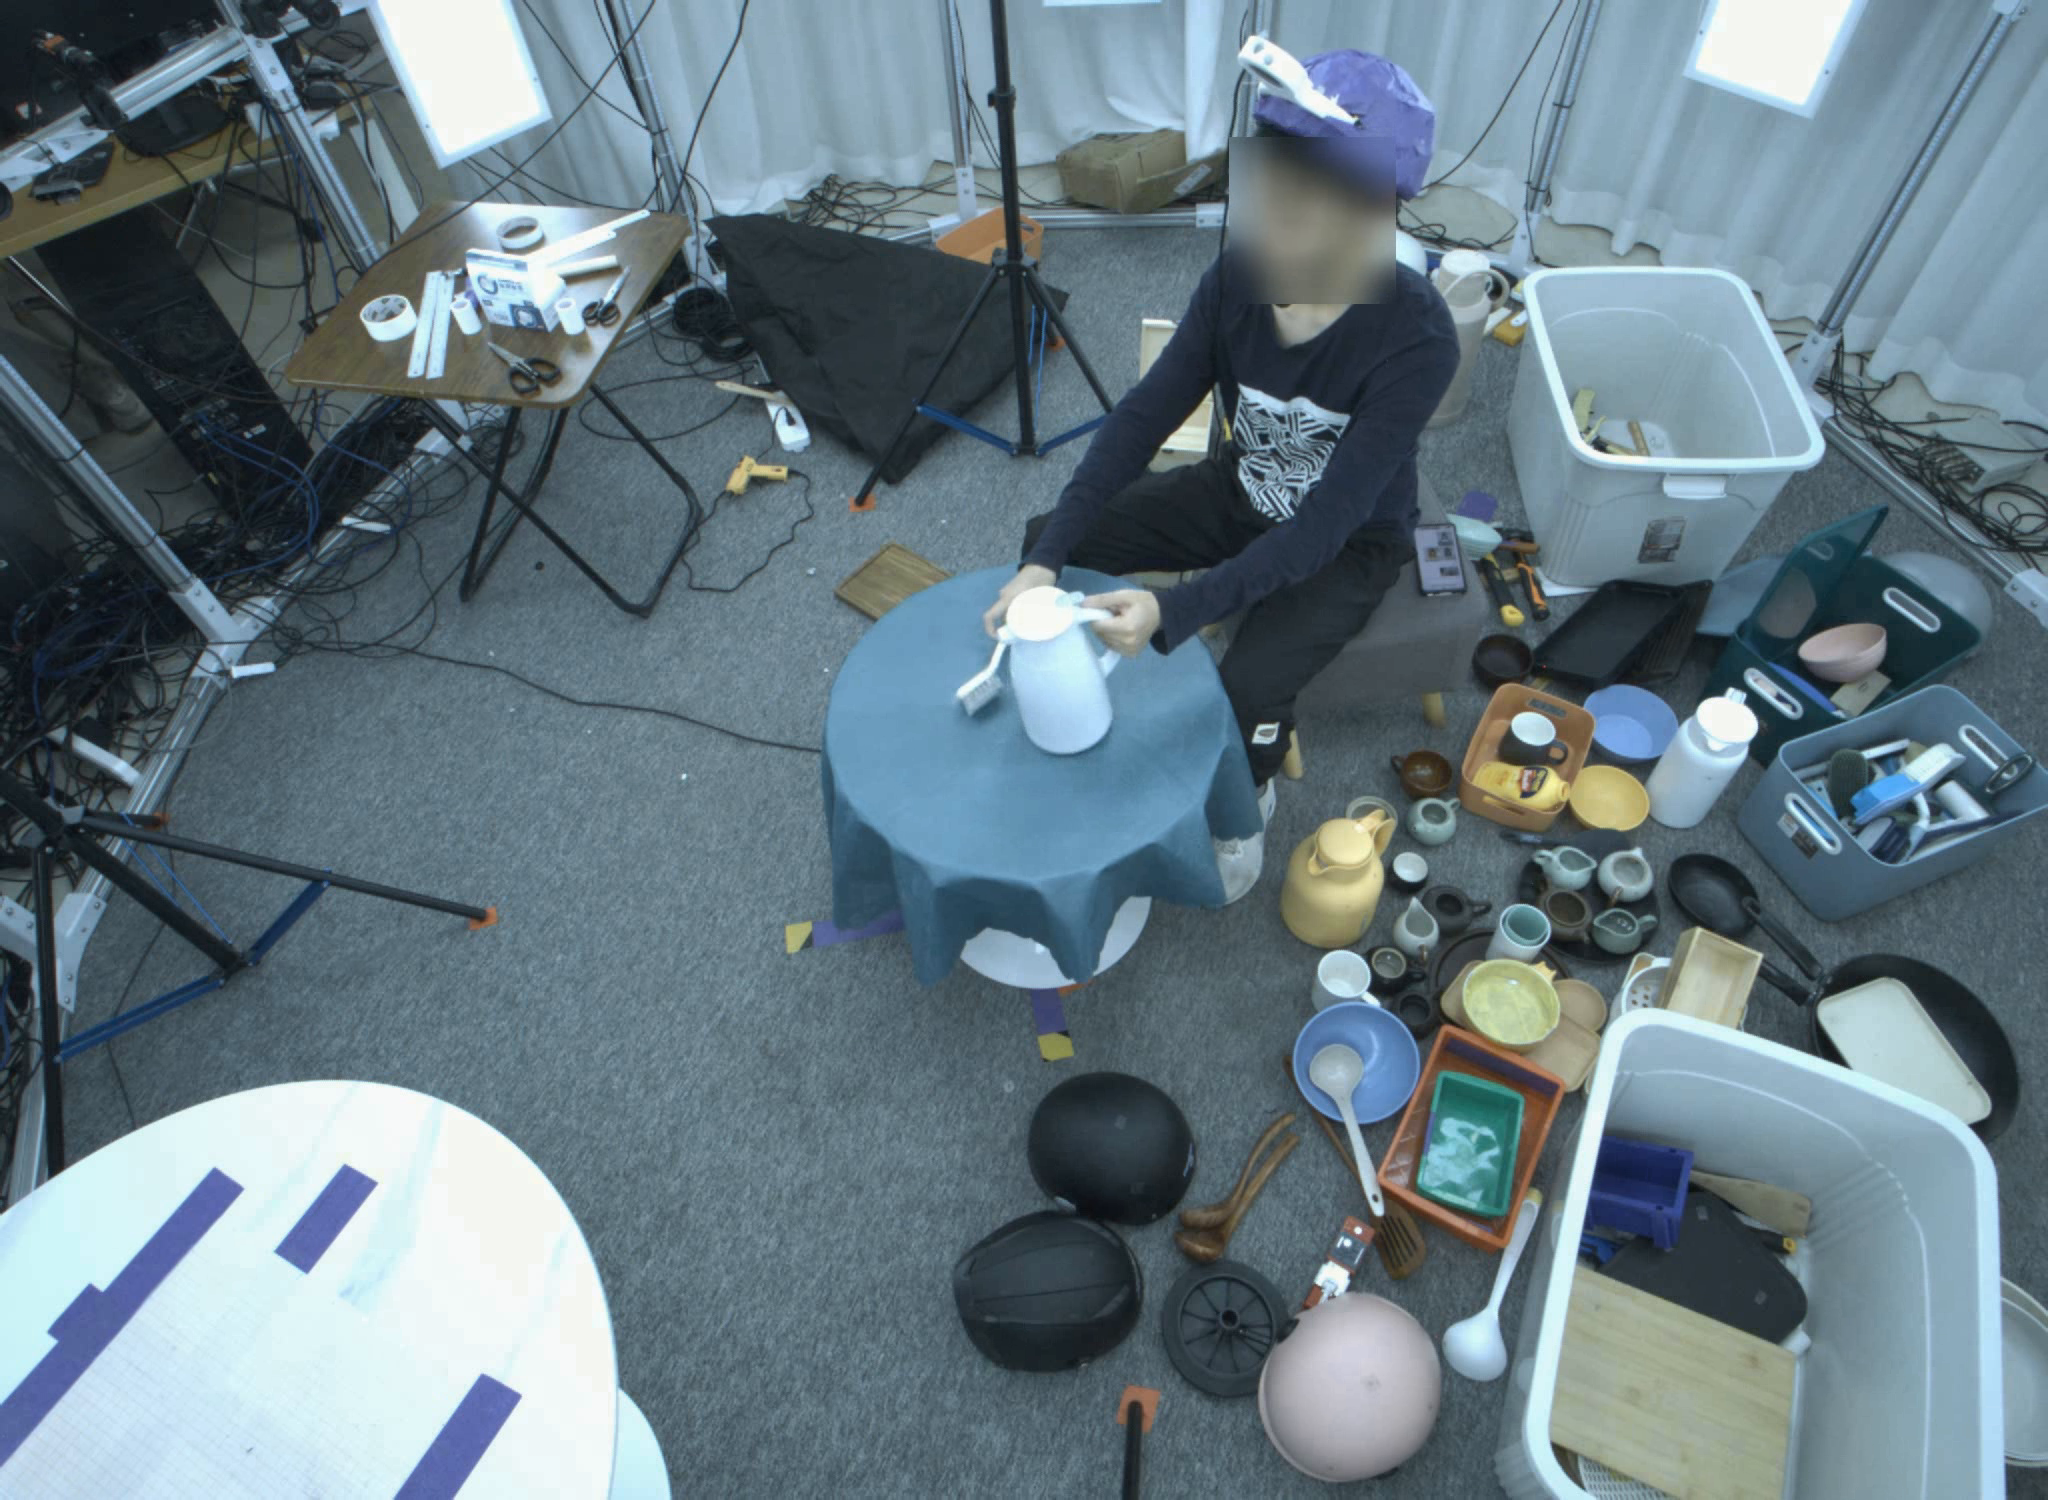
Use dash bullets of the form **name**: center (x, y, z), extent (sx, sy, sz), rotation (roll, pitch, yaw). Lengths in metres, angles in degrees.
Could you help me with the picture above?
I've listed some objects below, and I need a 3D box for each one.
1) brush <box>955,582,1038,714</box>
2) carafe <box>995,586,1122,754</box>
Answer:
- **brush**: center (-0.026, -0.155, 1.848), extent (0.050, 0.034, 0.244), rotation (30, 66, 6)
- **carafe**: center (0.057, -0.124, 1.700), extent (0.168, 0.252, 0.130), rotation (-22, 55, -3)
